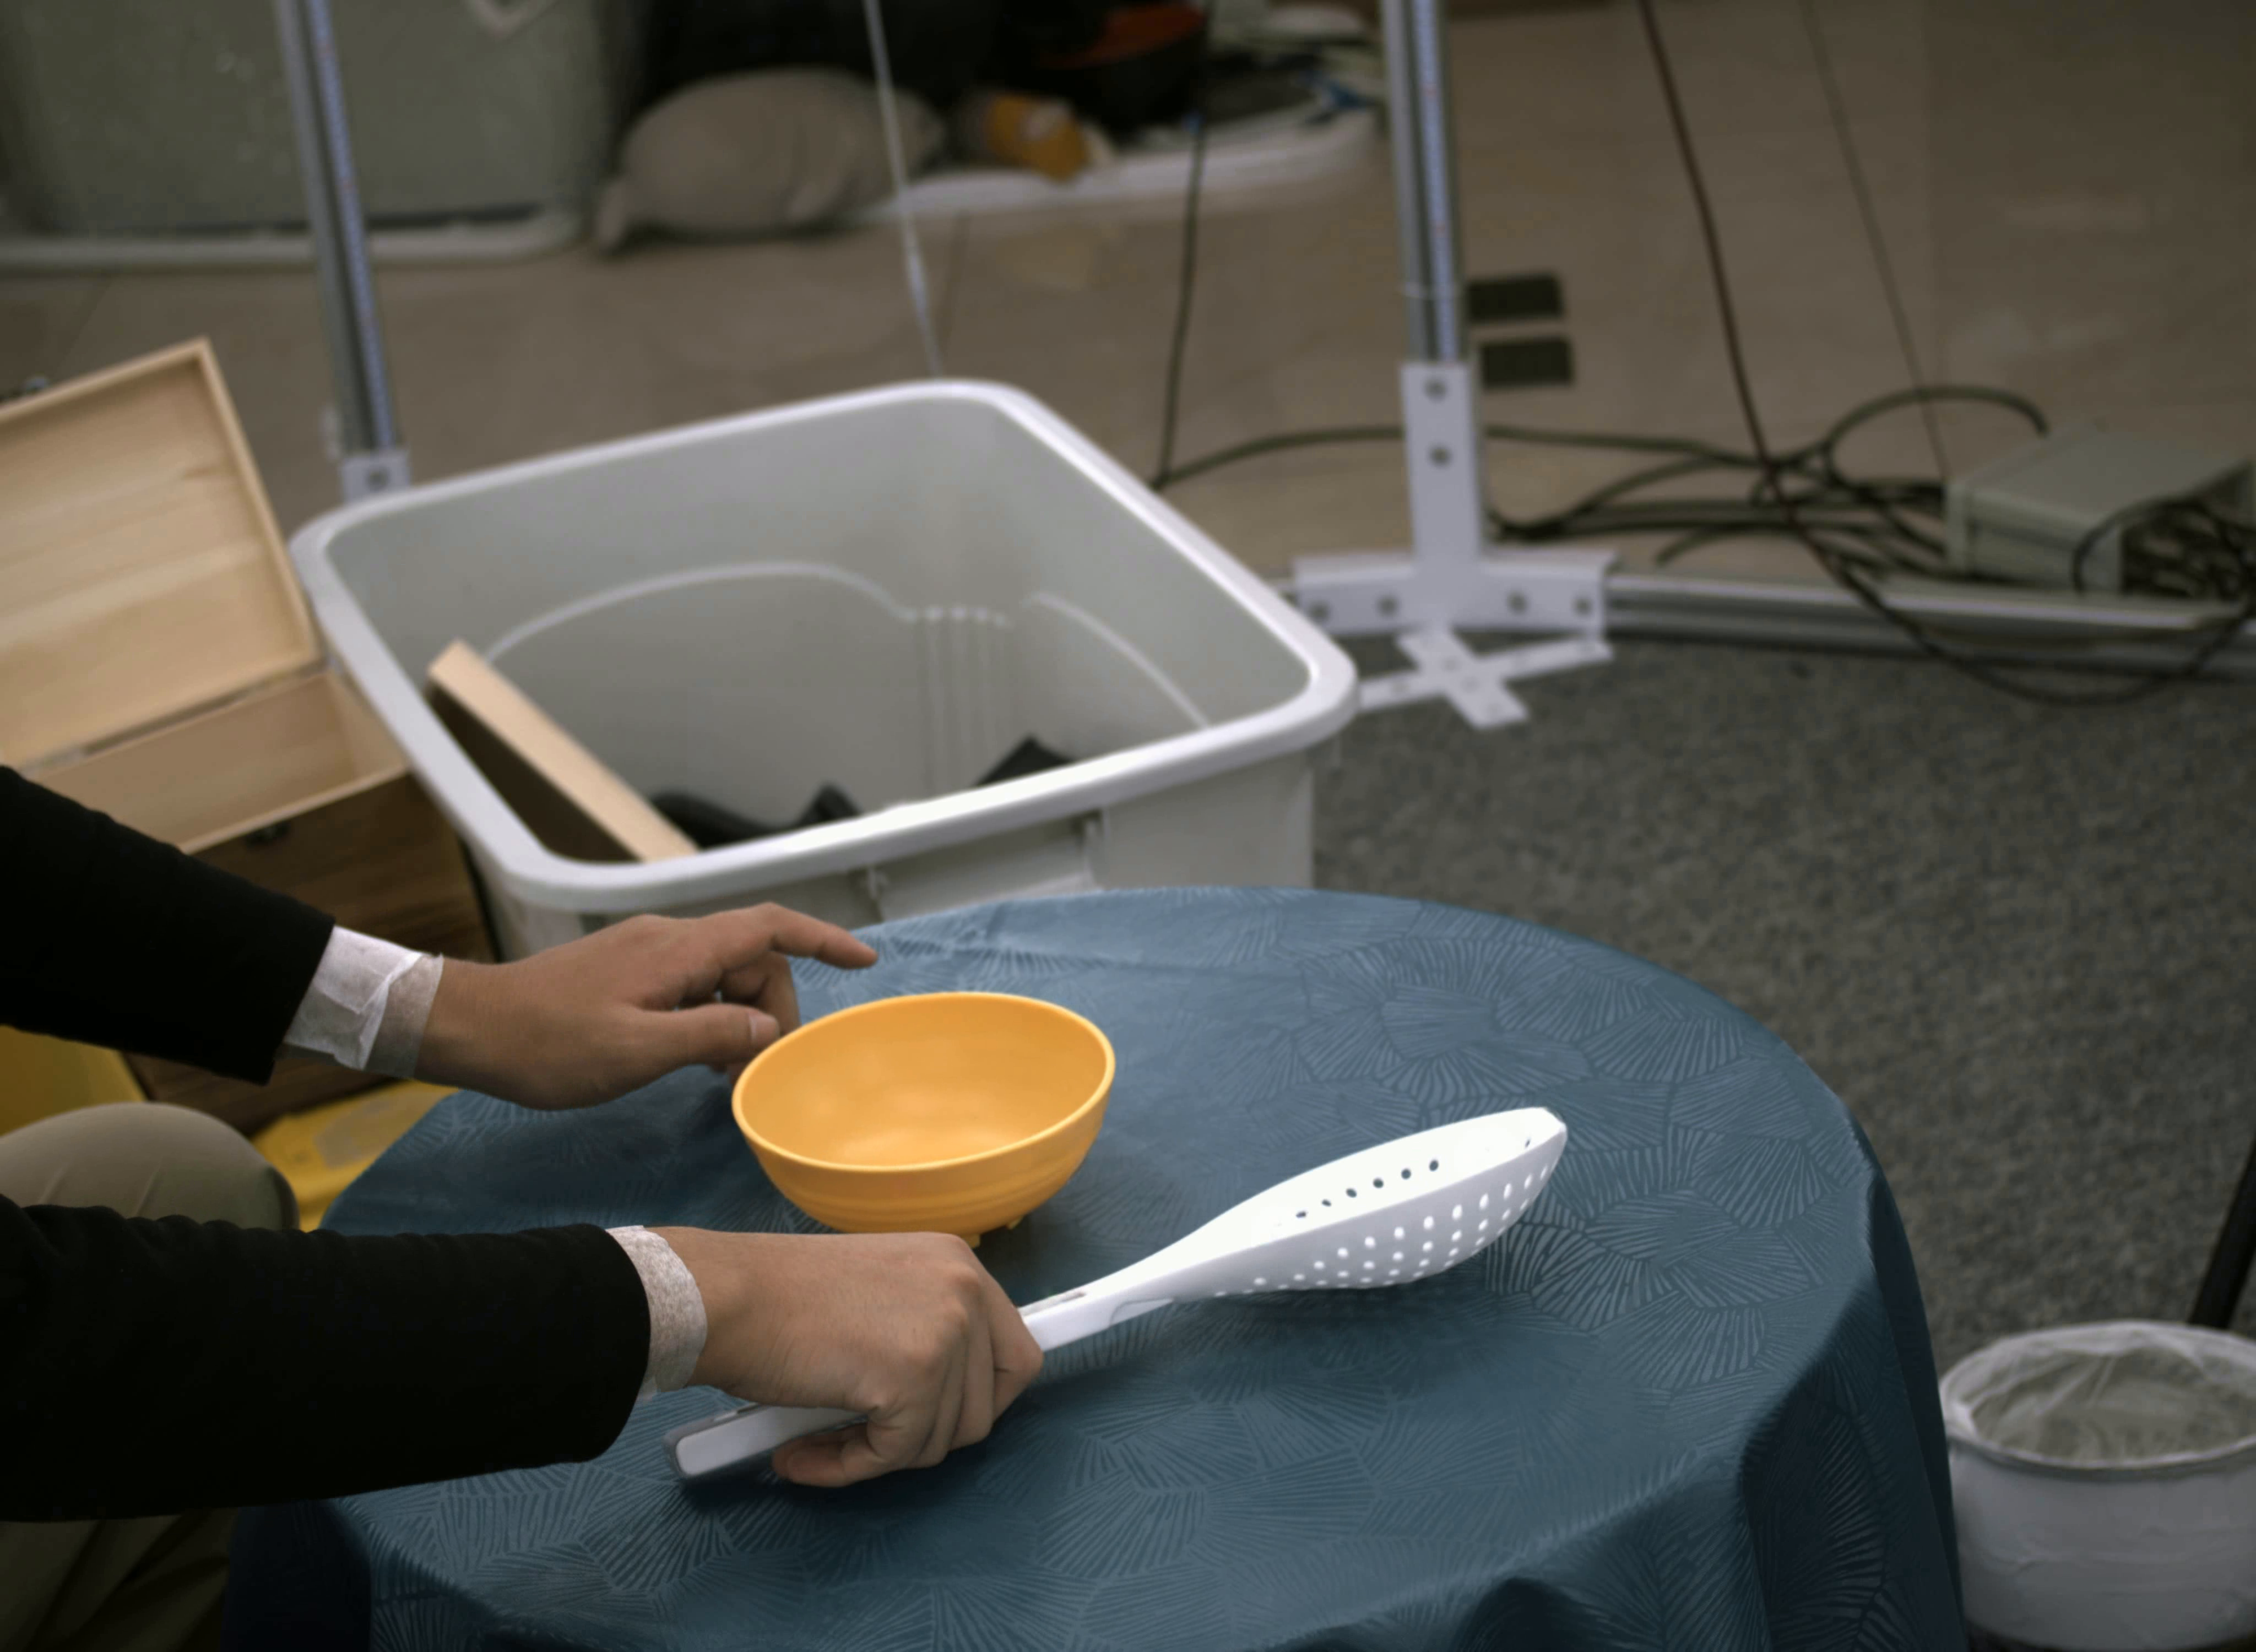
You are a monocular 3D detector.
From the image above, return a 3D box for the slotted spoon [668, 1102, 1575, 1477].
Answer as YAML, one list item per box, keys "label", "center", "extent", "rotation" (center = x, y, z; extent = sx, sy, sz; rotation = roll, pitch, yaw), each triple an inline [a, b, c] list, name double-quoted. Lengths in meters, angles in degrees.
- label: "slotted spoon"
  center: [0.001, 0.165, 2.023]
  extent: [0.348, 0.046, 0.136]
  rotation: [-14, 2, -16]

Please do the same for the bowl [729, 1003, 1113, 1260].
- label: "bowl"
  center: [-0.076, 0.122, 2.135]
  extent: [0.145, 0.061, 0.143]
  rotation: [-4, 23, 2]
